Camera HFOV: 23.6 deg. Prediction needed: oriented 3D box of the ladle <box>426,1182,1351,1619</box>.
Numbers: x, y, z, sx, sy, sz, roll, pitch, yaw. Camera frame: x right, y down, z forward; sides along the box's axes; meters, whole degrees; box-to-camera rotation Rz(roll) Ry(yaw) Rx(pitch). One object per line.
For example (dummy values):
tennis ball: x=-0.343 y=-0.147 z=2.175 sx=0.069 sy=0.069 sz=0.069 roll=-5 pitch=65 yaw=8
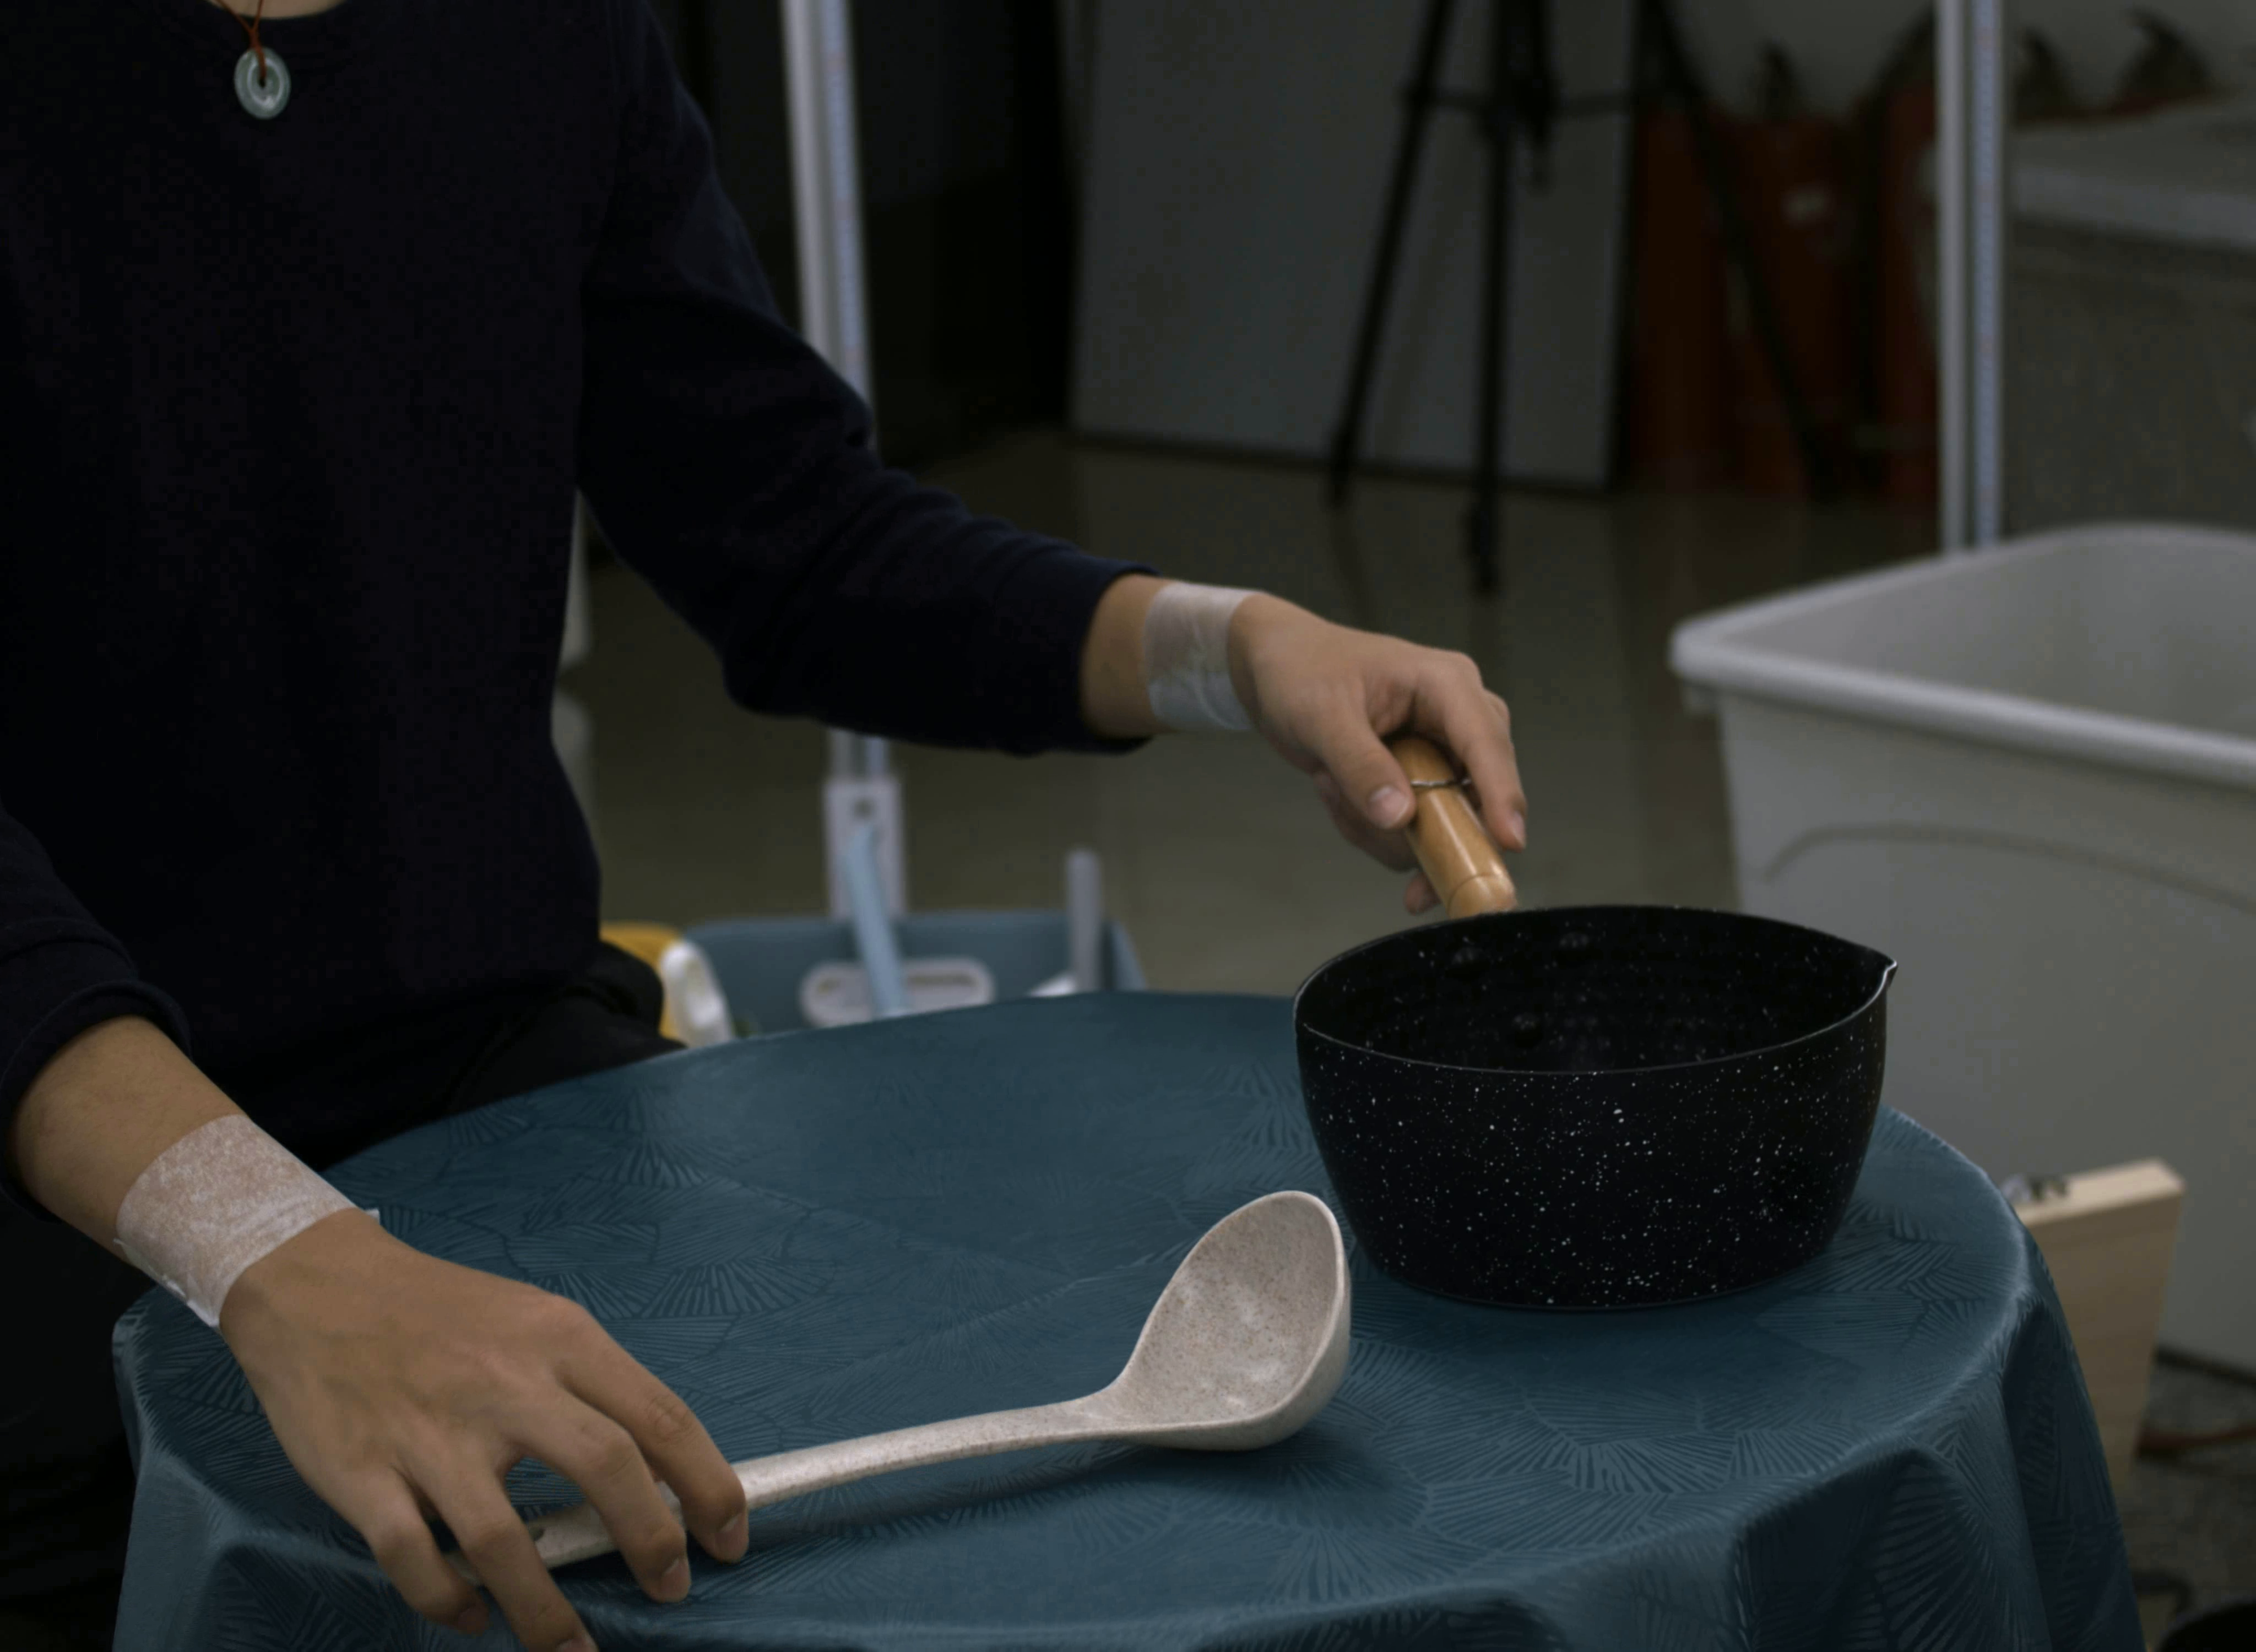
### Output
ladle: x=-0.066 y=0.158 z=1.500 sx=0.269 sy=0.070 sz=0.090 roll=-10 pitch=21 yaw=-19

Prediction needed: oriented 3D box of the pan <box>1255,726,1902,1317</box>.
pan: x=0.130 y=0.059 z=1.758 sx=0.204 sy=0.109 sz=0.345 roll=-7 pitch=15 yaw=-9
